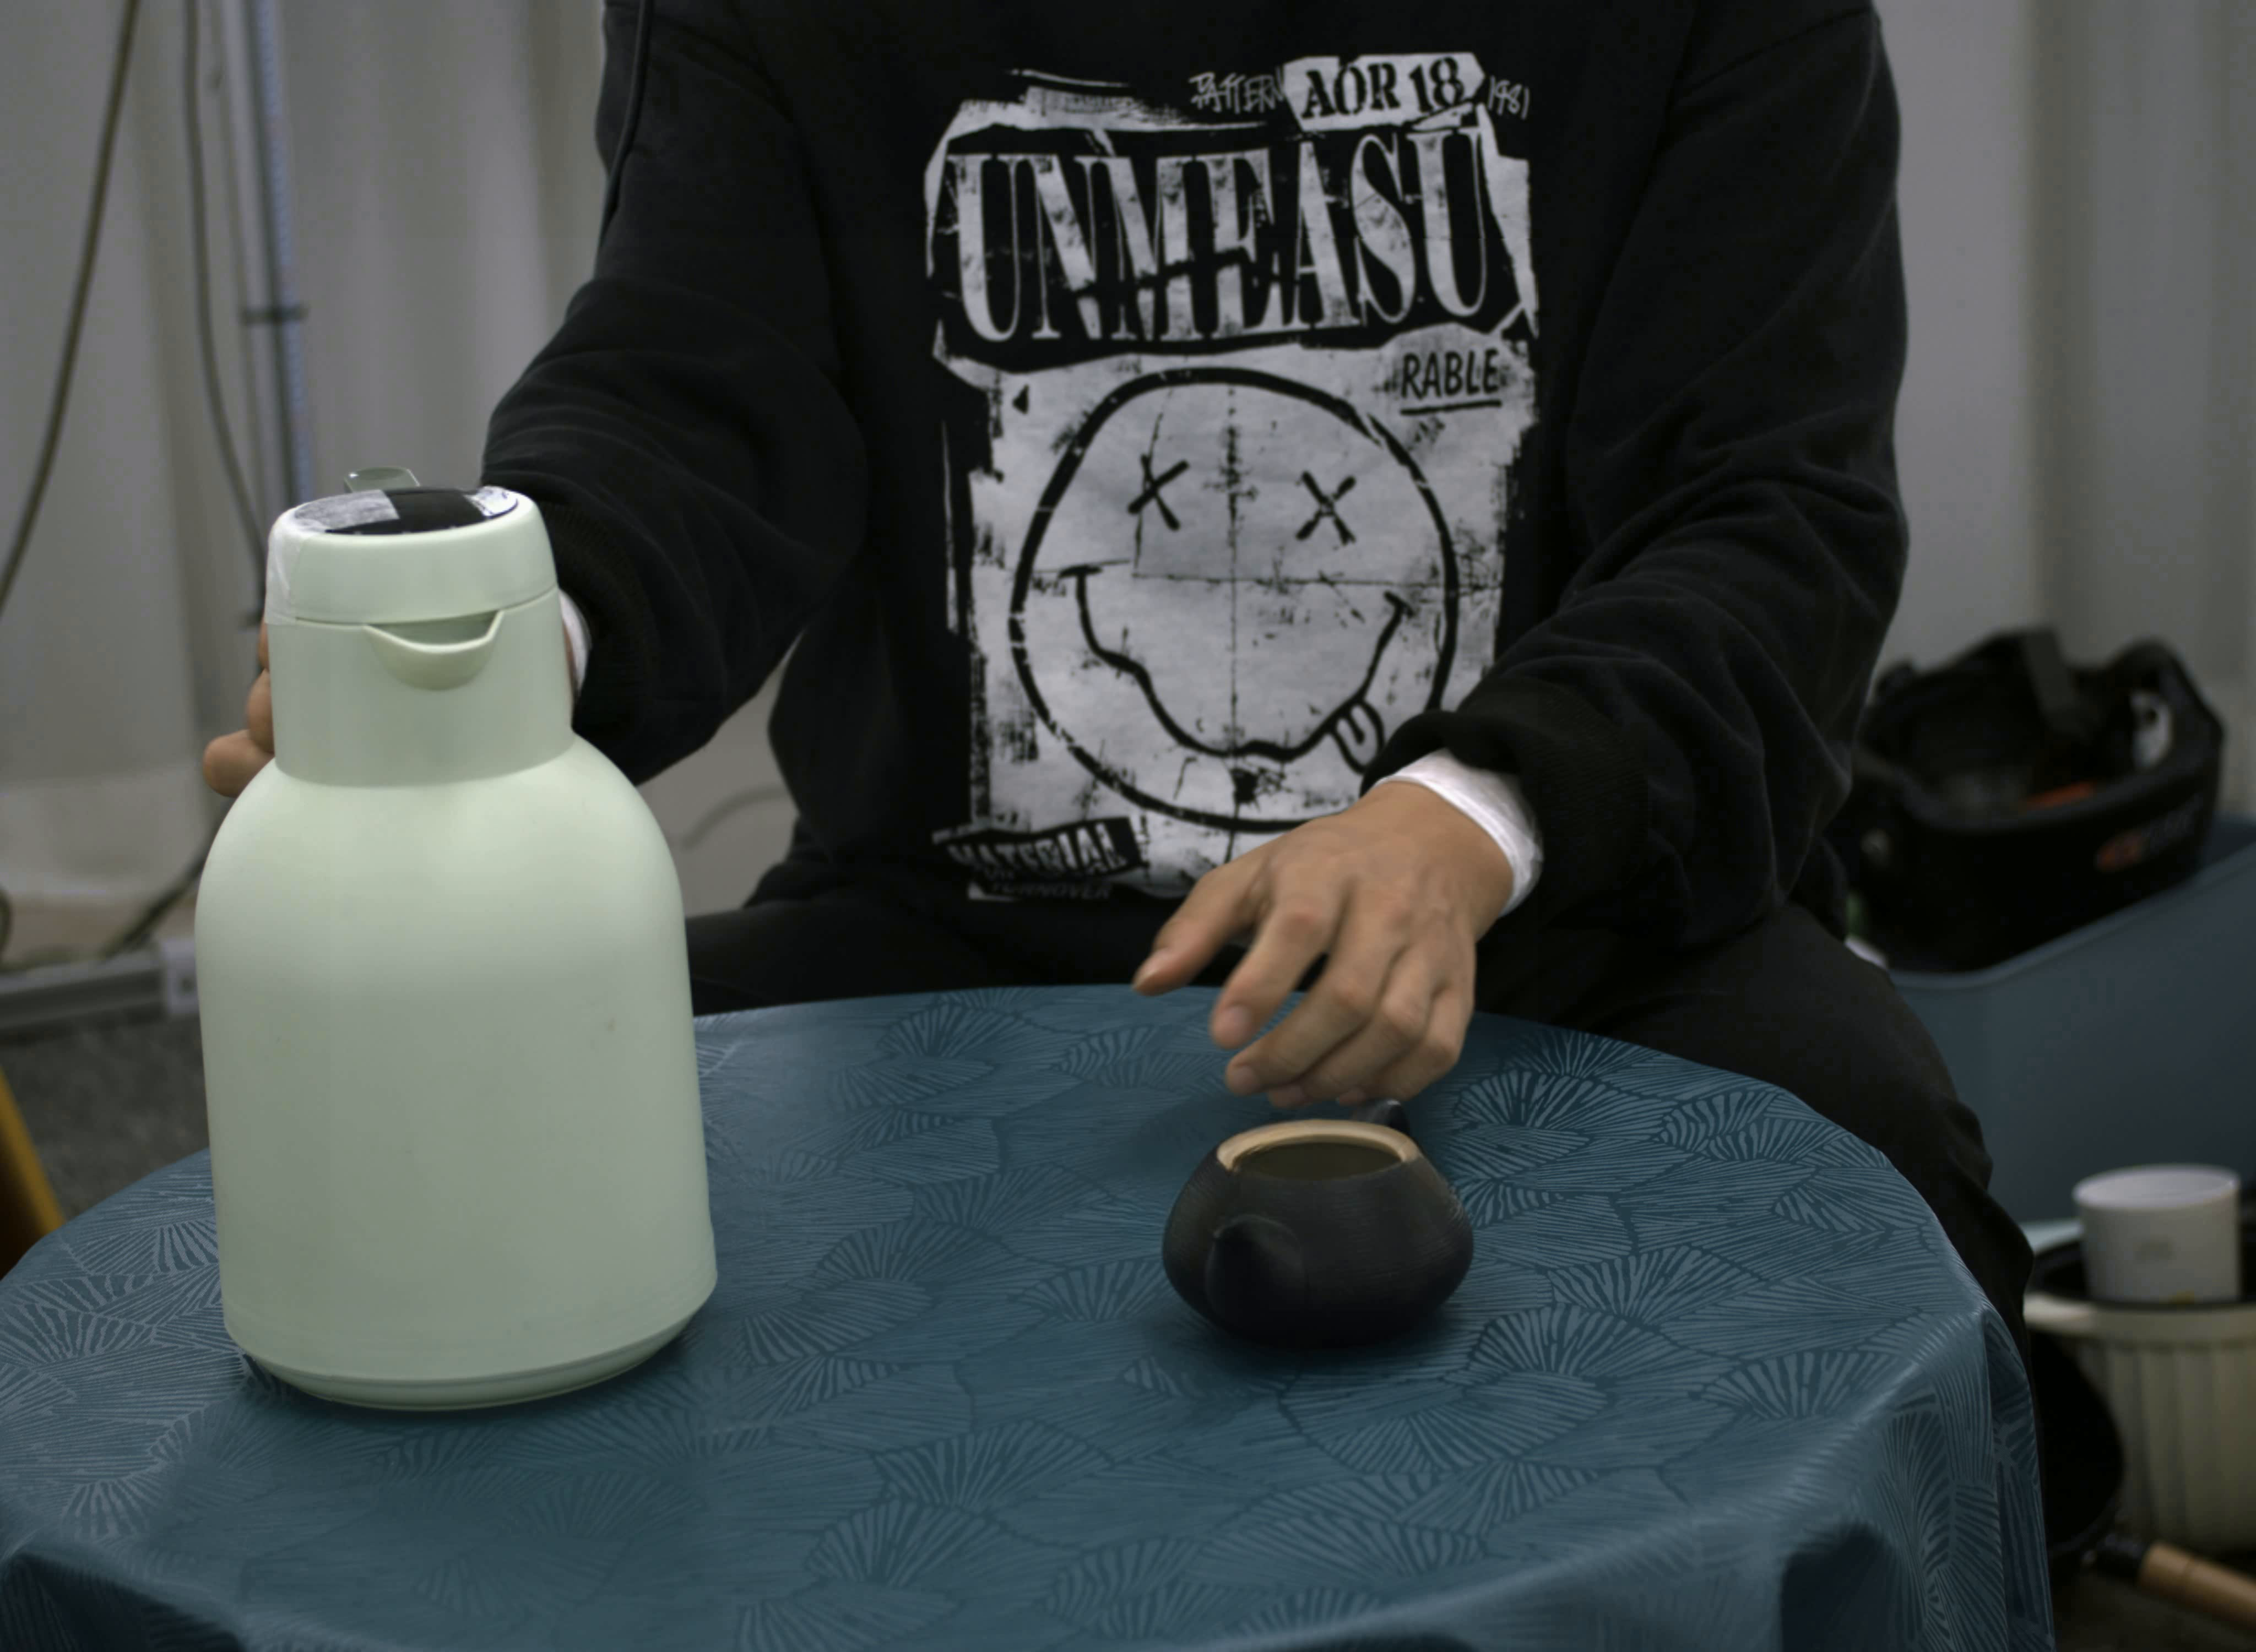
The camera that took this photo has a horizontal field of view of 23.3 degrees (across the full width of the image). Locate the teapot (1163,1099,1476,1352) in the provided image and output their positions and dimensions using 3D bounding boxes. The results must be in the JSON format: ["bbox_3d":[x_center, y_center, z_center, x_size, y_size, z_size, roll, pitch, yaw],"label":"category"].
[{"bbox_3d":[0.056,0.119,1.585,0.091,0.053,0.133,6,17,24],"label":"teapot"}]

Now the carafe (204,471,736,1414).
[{"bbox_3d":[-0.200,0.028,1.597,0.143,0.256,0.188,-8,11,-15],"label":"carafe"}]
